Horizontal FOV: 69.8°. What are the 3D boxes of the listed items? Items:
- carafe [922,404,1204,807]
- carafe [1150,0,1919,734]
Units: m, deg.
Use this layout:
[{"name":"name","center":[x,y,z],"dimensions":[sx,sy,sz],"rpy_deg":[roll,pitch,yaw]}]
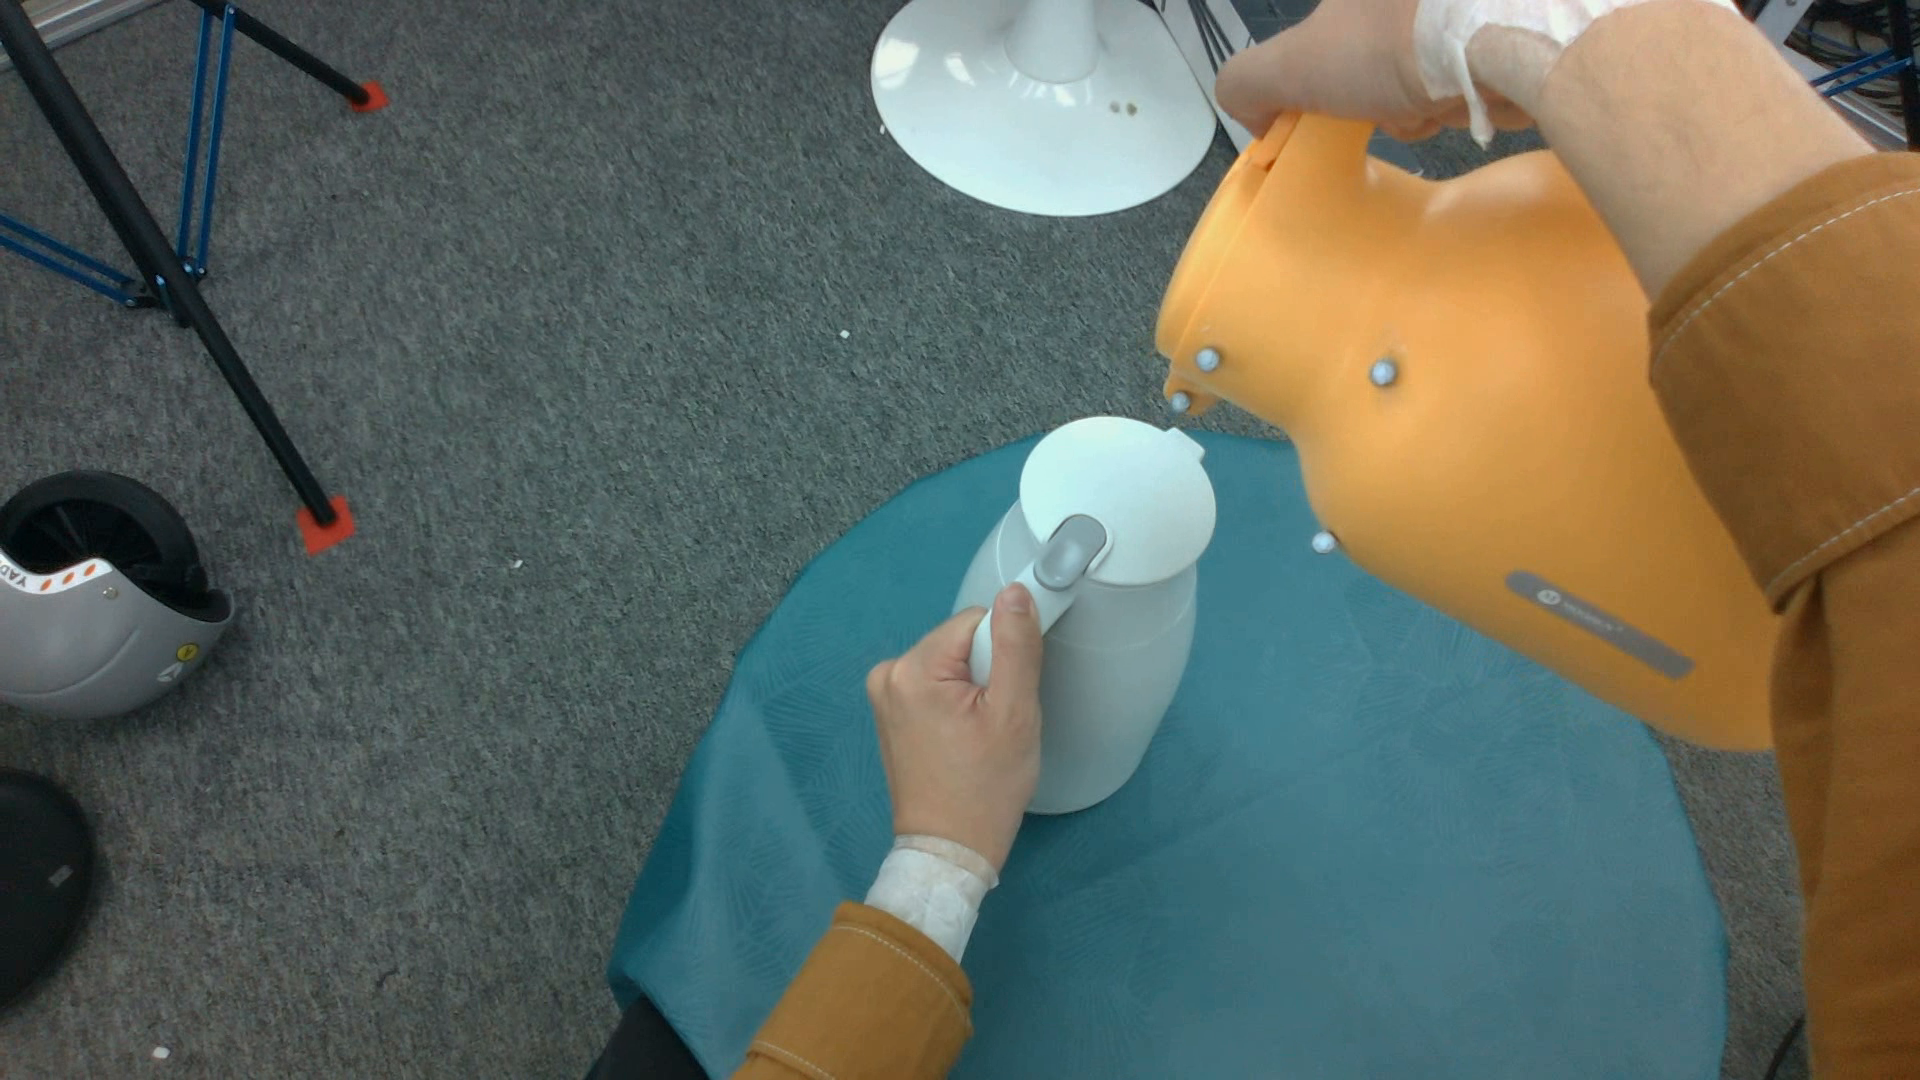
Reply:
[{"name":"carafe","center":[0.044,0.047,0.717],"dimensions":[0.132,0.247,0.168],"rpy_deg":[38,62,15]},{"name":"carafe","center":[0.200,-0.063,0.468],"dimensions":[0.260,0.201,0.164],"rpy_deg":[27,55,7]}]
